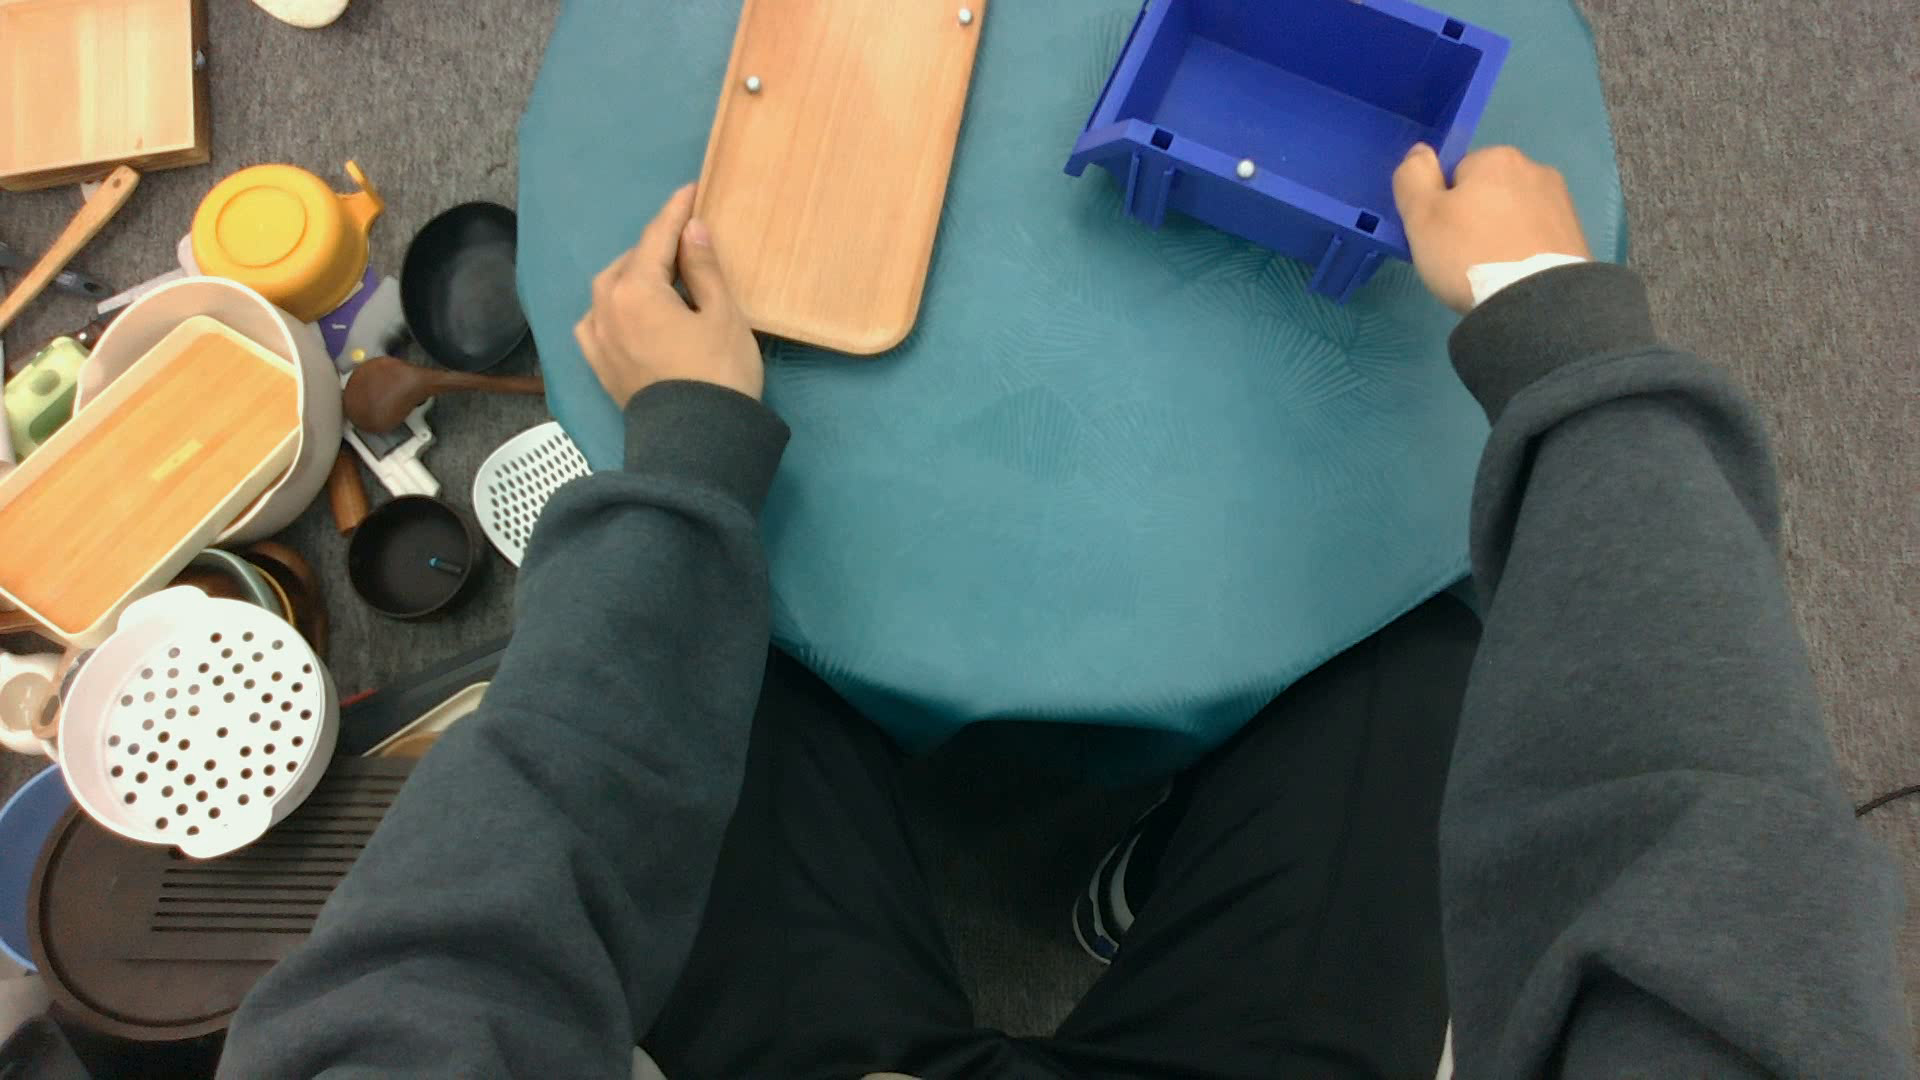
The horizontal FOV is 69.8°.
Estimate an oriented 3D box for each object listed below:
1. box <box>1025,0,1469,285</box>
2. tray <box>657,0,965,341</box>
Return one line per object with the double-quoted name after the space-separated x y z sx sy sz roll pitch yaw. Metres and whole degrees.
0.139 -0.224 0.700 0.179 0.082 0.124 26 82 3 "box"
-0.076 -0.232 0.744 0.130 0.023 0.251 12 79 -2 "tray"
